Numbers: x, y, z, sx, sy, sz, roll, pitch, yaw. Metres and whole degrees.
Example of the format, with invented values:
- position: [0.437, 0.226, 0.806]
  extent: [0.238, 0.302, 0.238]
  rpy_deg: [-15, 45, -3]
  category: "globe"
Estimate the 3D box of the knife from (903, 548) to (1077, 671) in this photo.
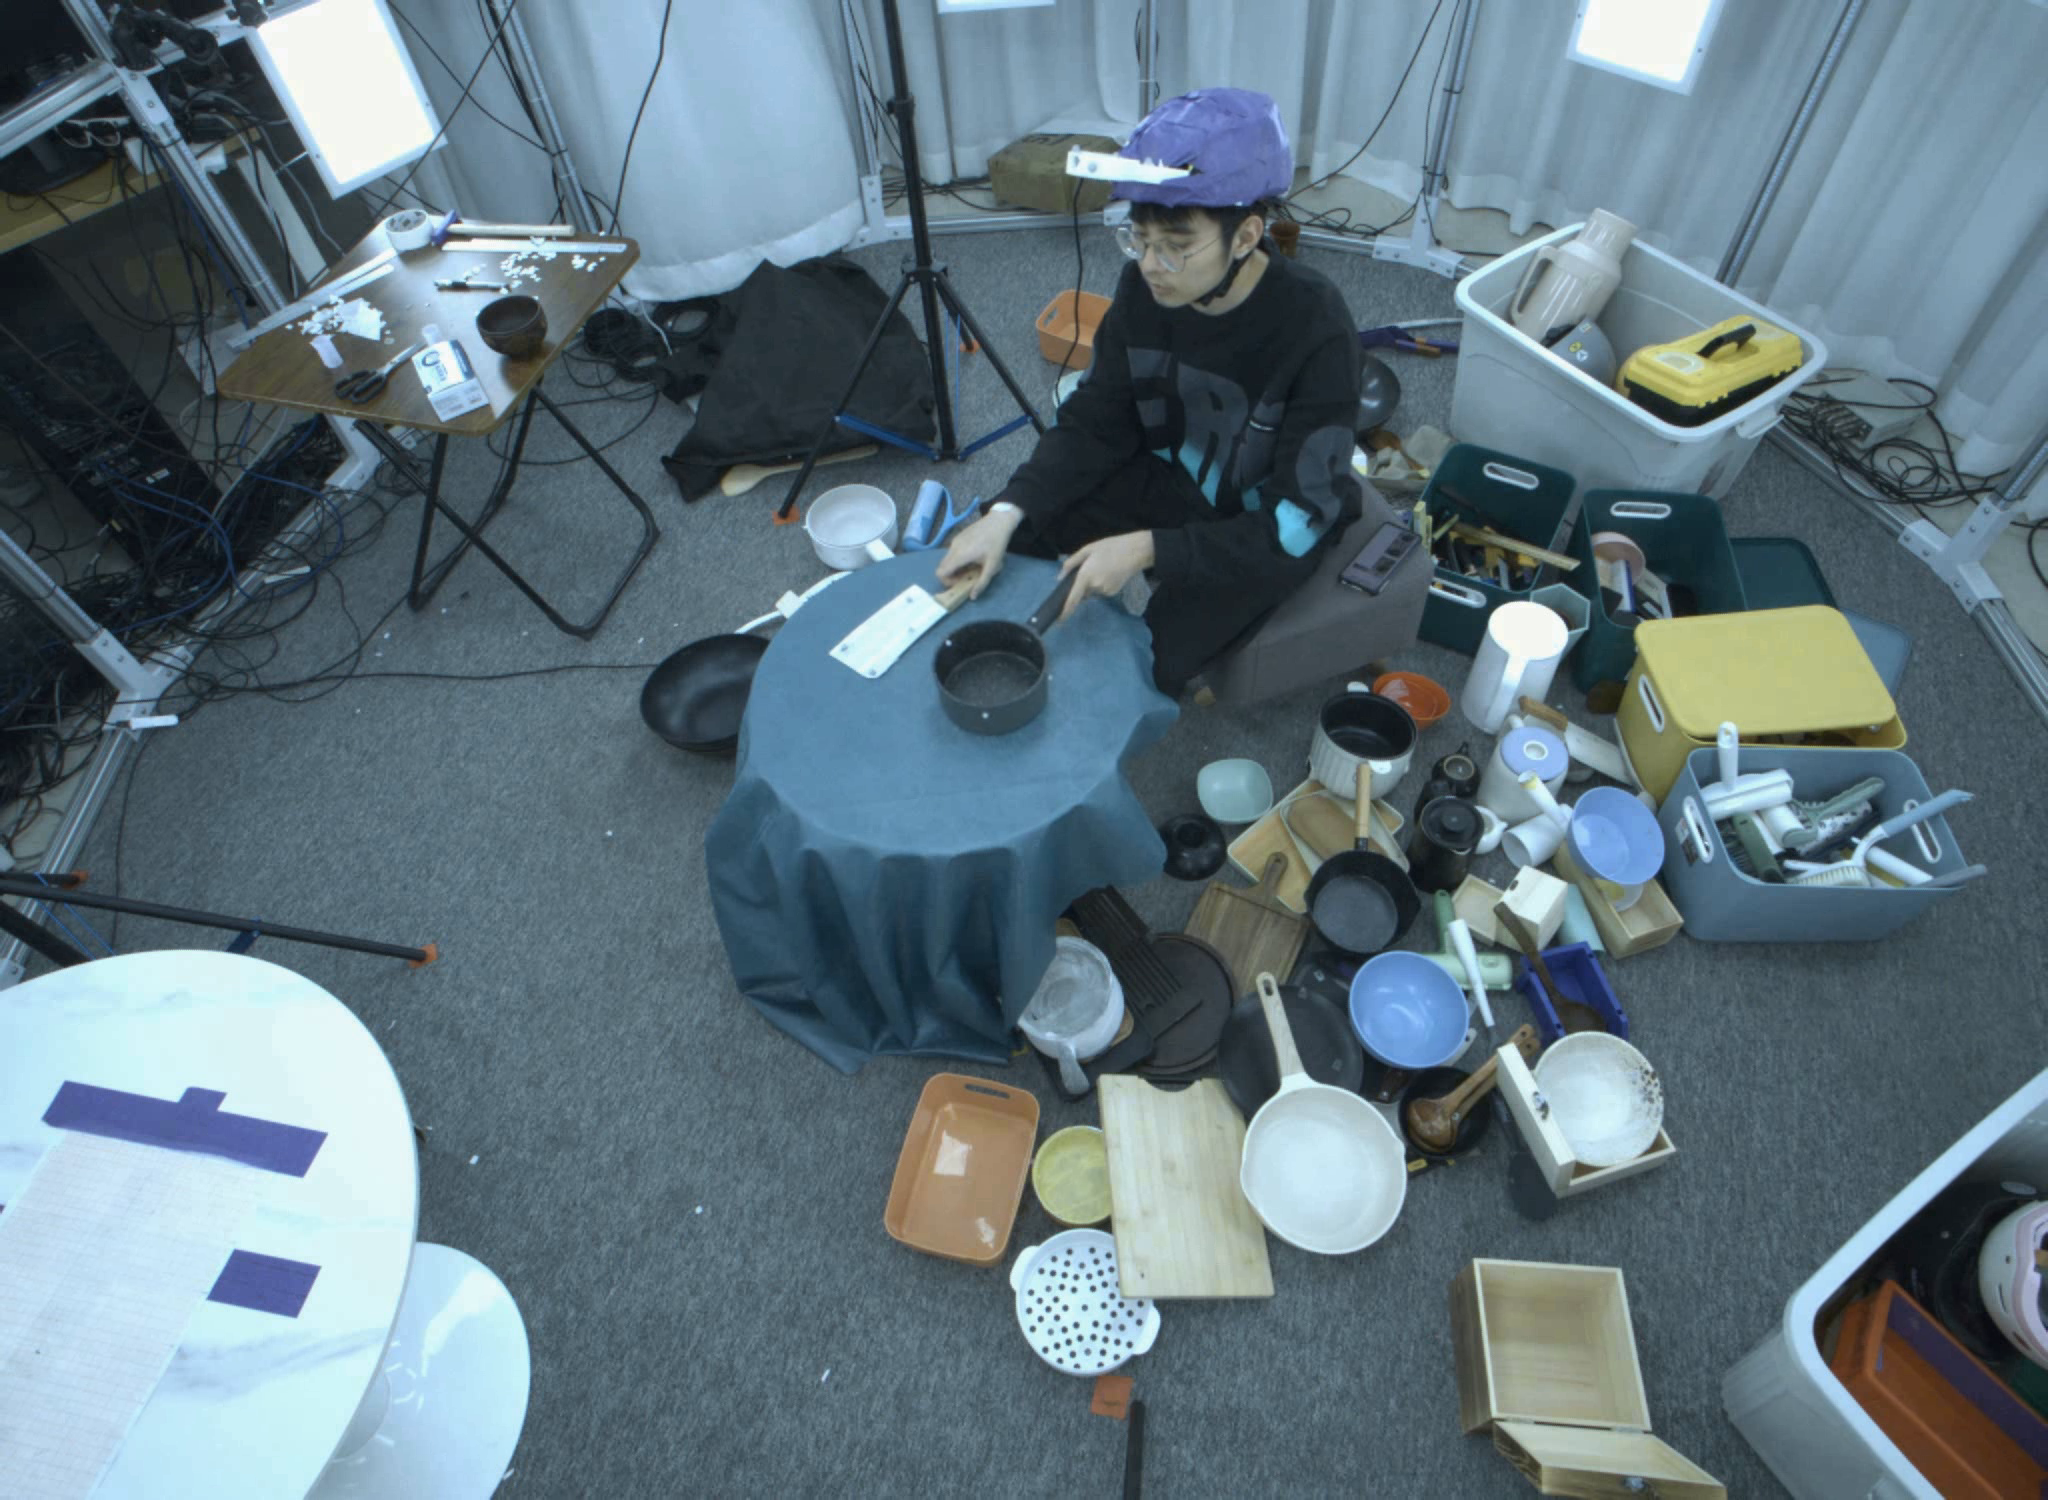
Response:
- position: [-0.044, -0.227, 1.938]
  extent: [0.317, 0.022, 0.112]
  rpy_deg: [-36, 60, -18]
  category: "knife"

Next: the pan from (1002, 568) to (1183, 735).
- position: [0.112, -0.154, 1.840]
  extent: [0.331, 0.087, 0.169]
  rpy_deg: [-39, 64, -22]
  category: "pan"
